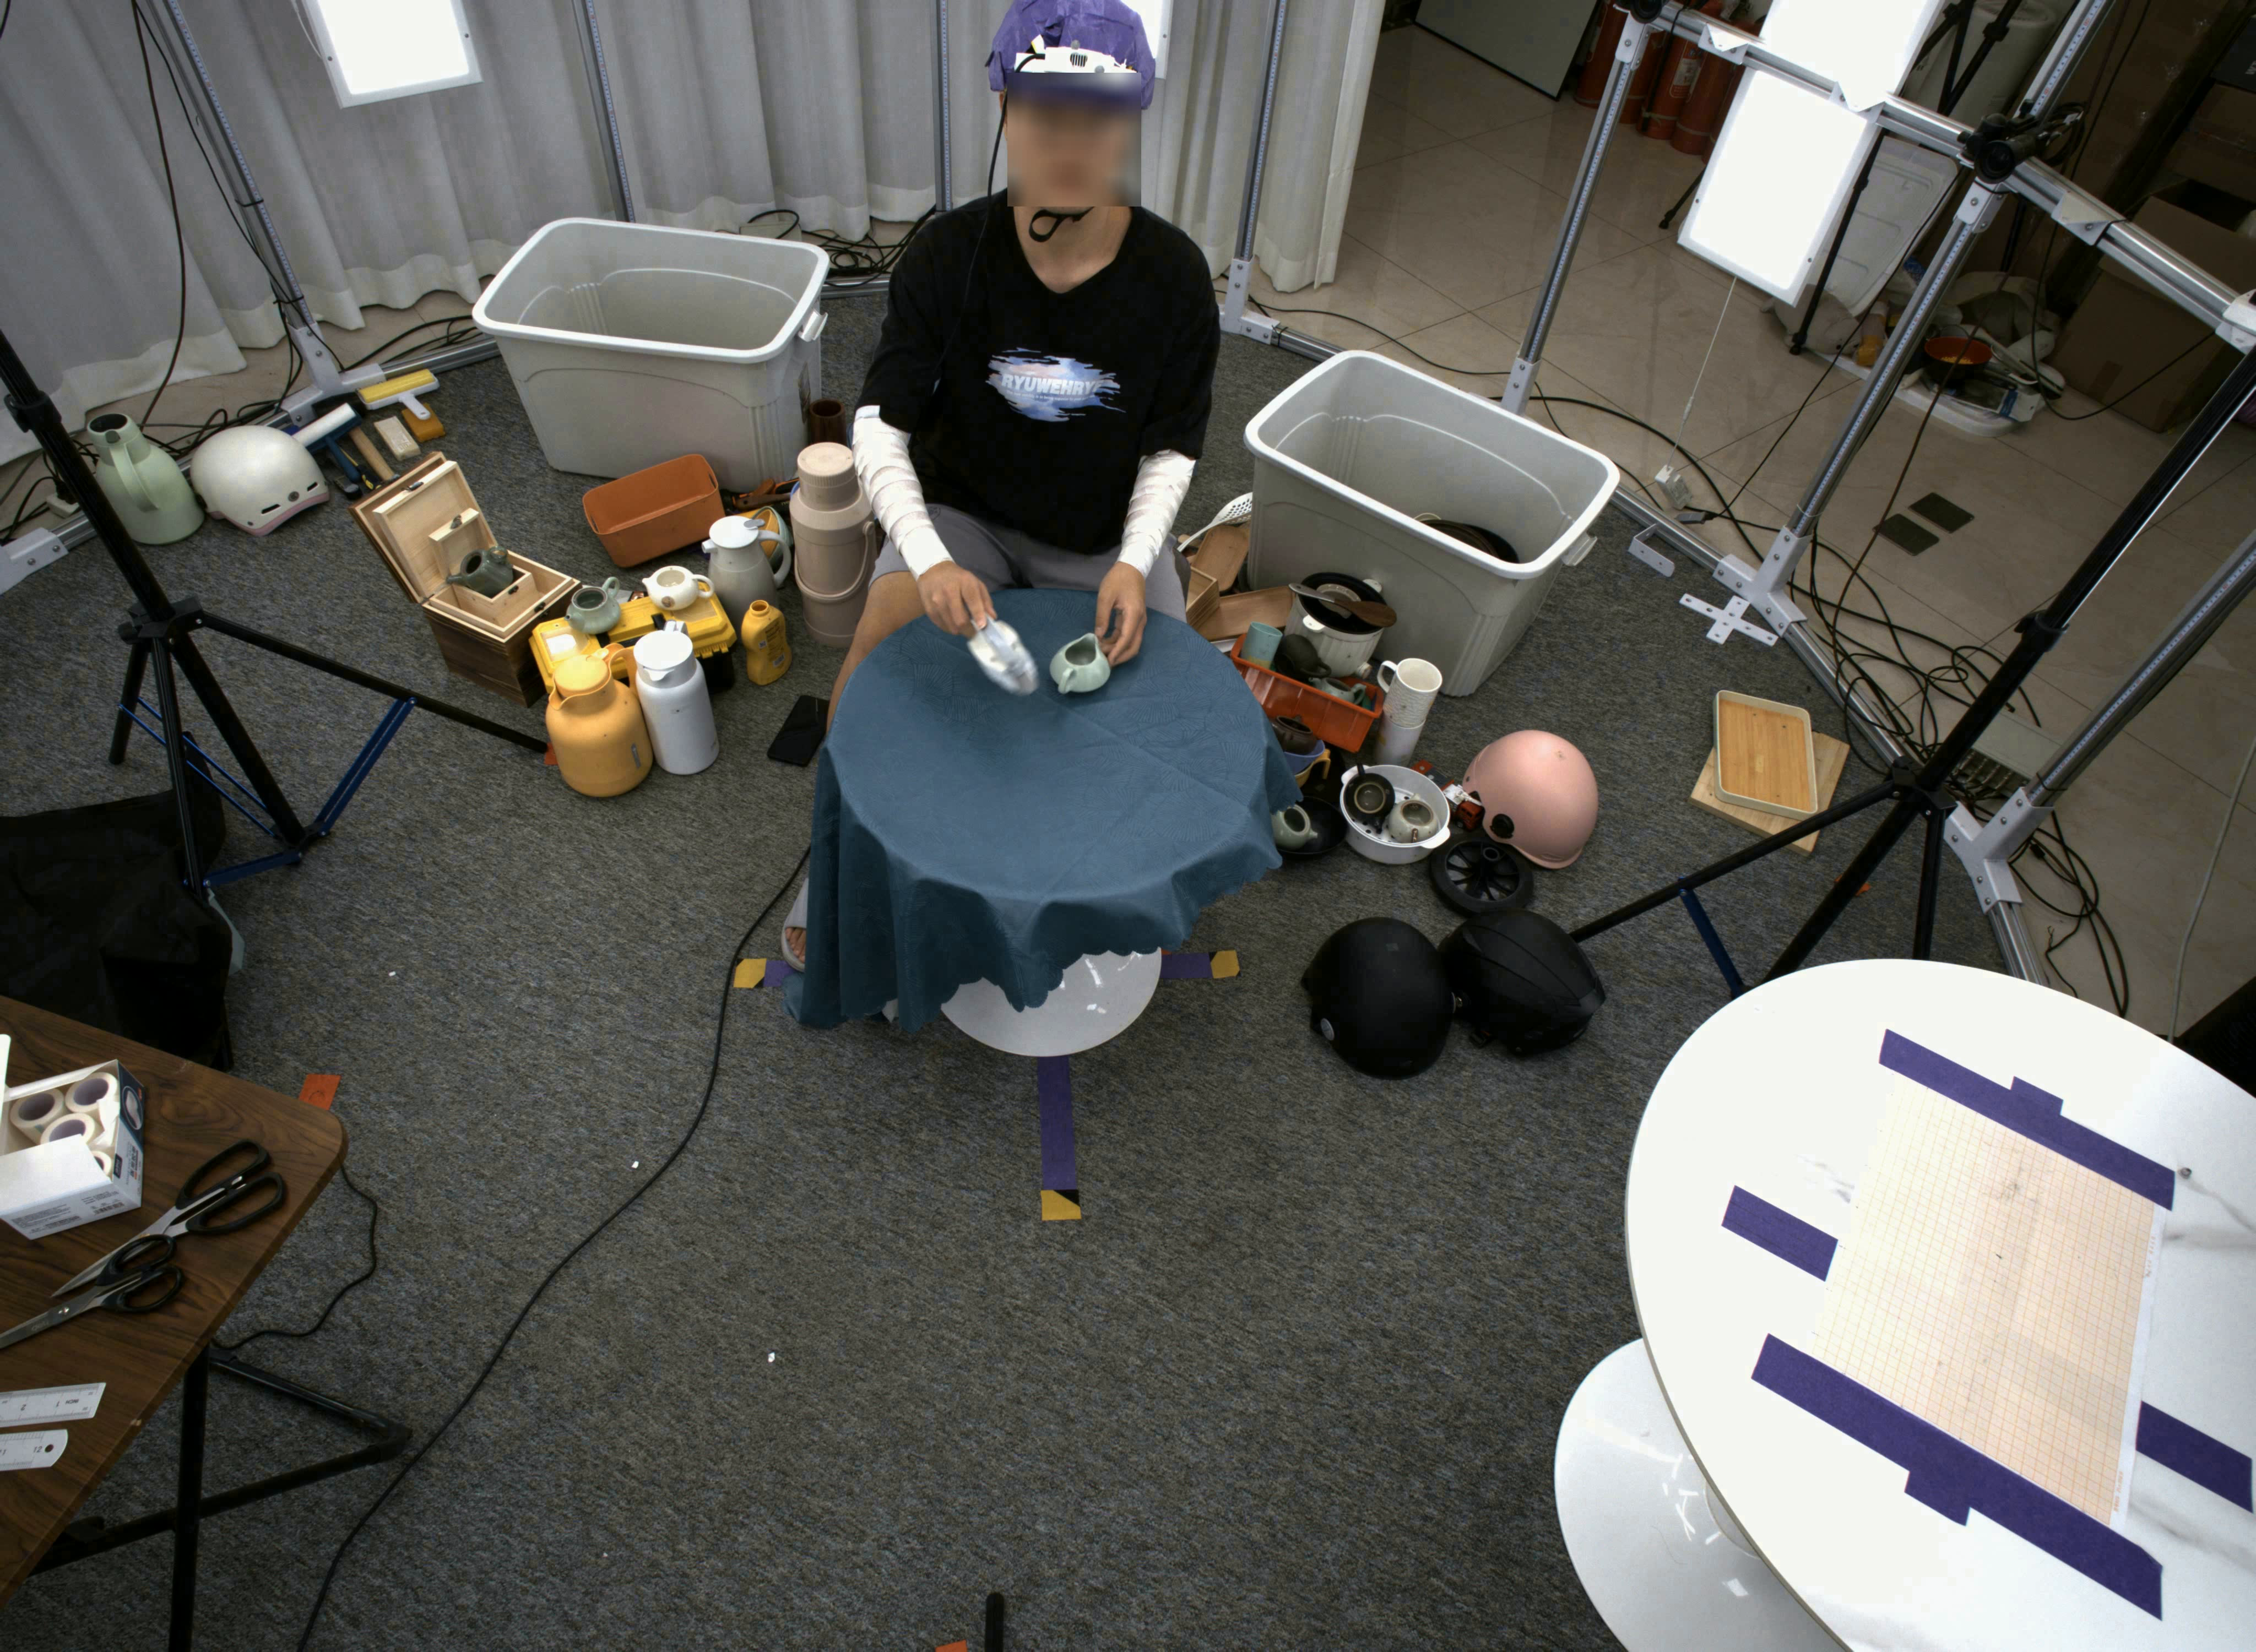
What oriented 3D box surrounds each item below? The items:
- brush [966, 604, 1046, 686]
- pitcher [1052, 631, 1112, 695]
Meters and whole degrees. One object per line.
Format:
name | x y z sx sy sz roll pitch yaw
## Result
brush | -0.168 -0.250 1.734 0.061 0.092 0.179 -43 37 0
pitcher | -0.069 -0.223 1.824 0.086 0.059 0.110 17 53 11
